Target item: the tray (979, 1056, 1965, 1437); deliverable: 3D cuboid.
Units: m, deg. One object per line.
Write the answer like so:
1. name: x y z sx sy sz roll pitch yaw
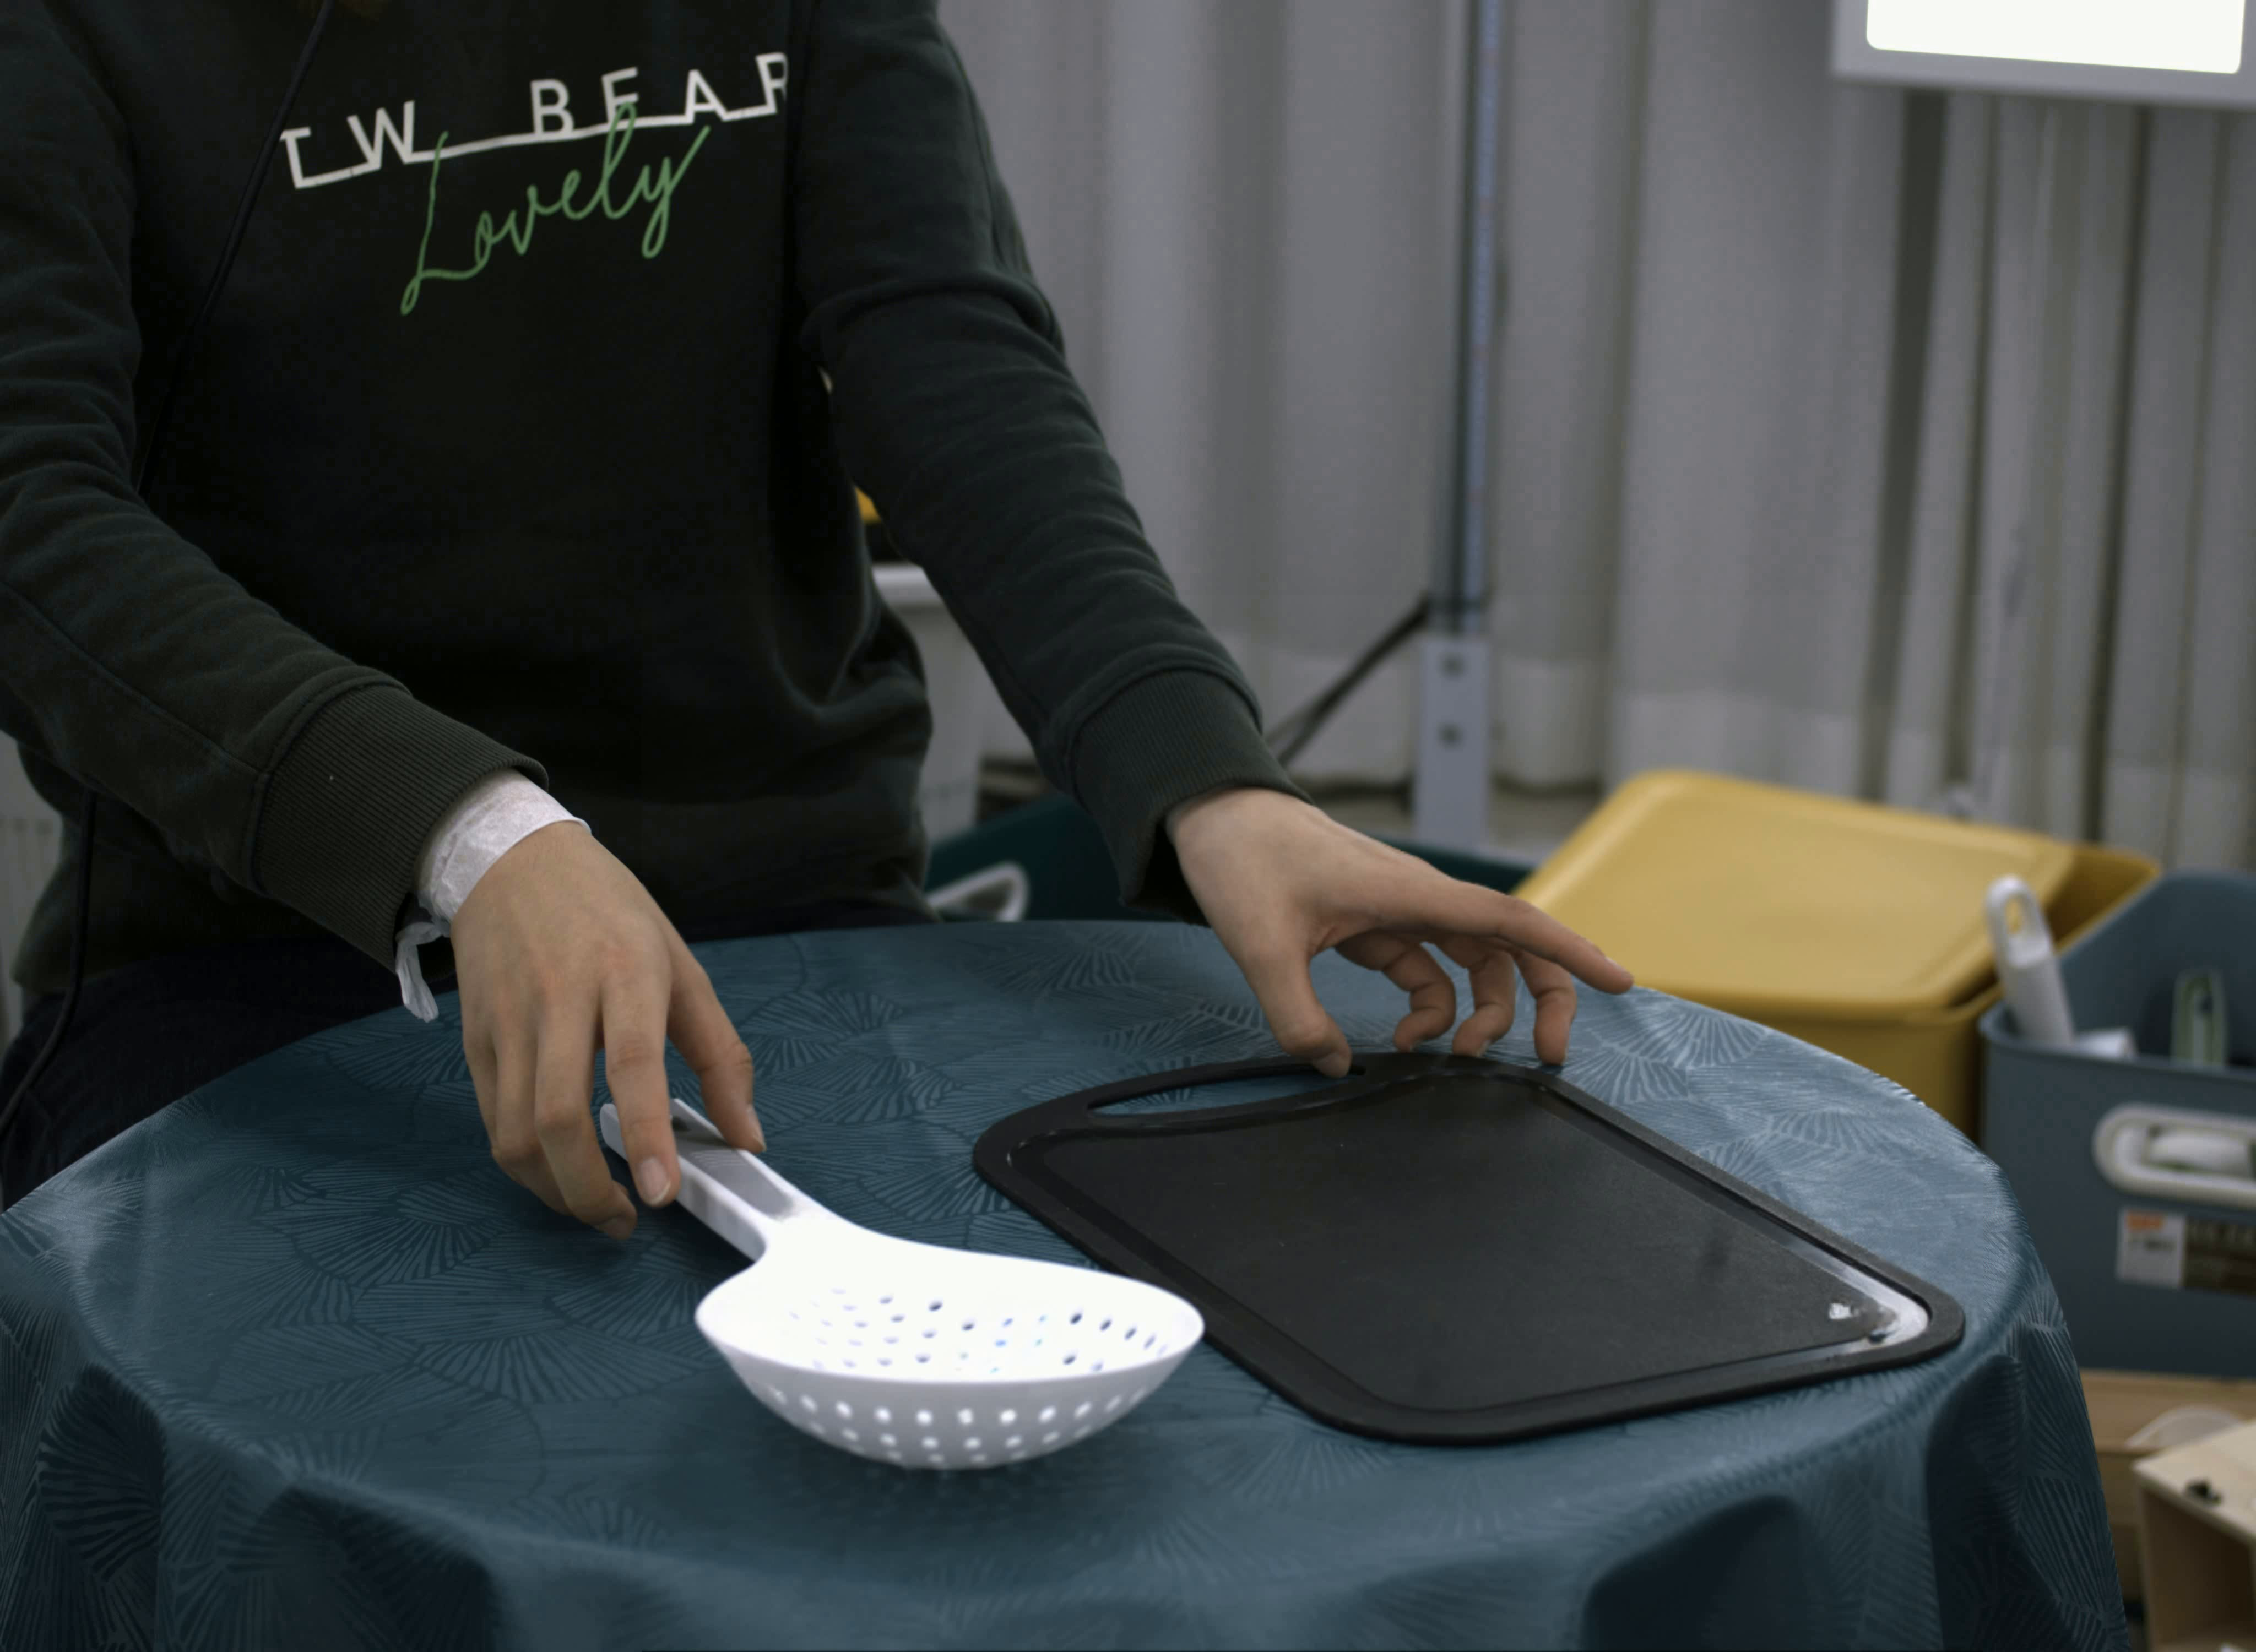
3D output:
1. tray: 0.093 0.119 1.594 0.212 0.010 0.321 -7 17 -25

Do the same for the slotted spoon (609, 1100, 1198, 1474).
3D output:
1. slotted spoon: -0.089 0.122 1.506 0.136 0.046 0.346 -2 15 -22
